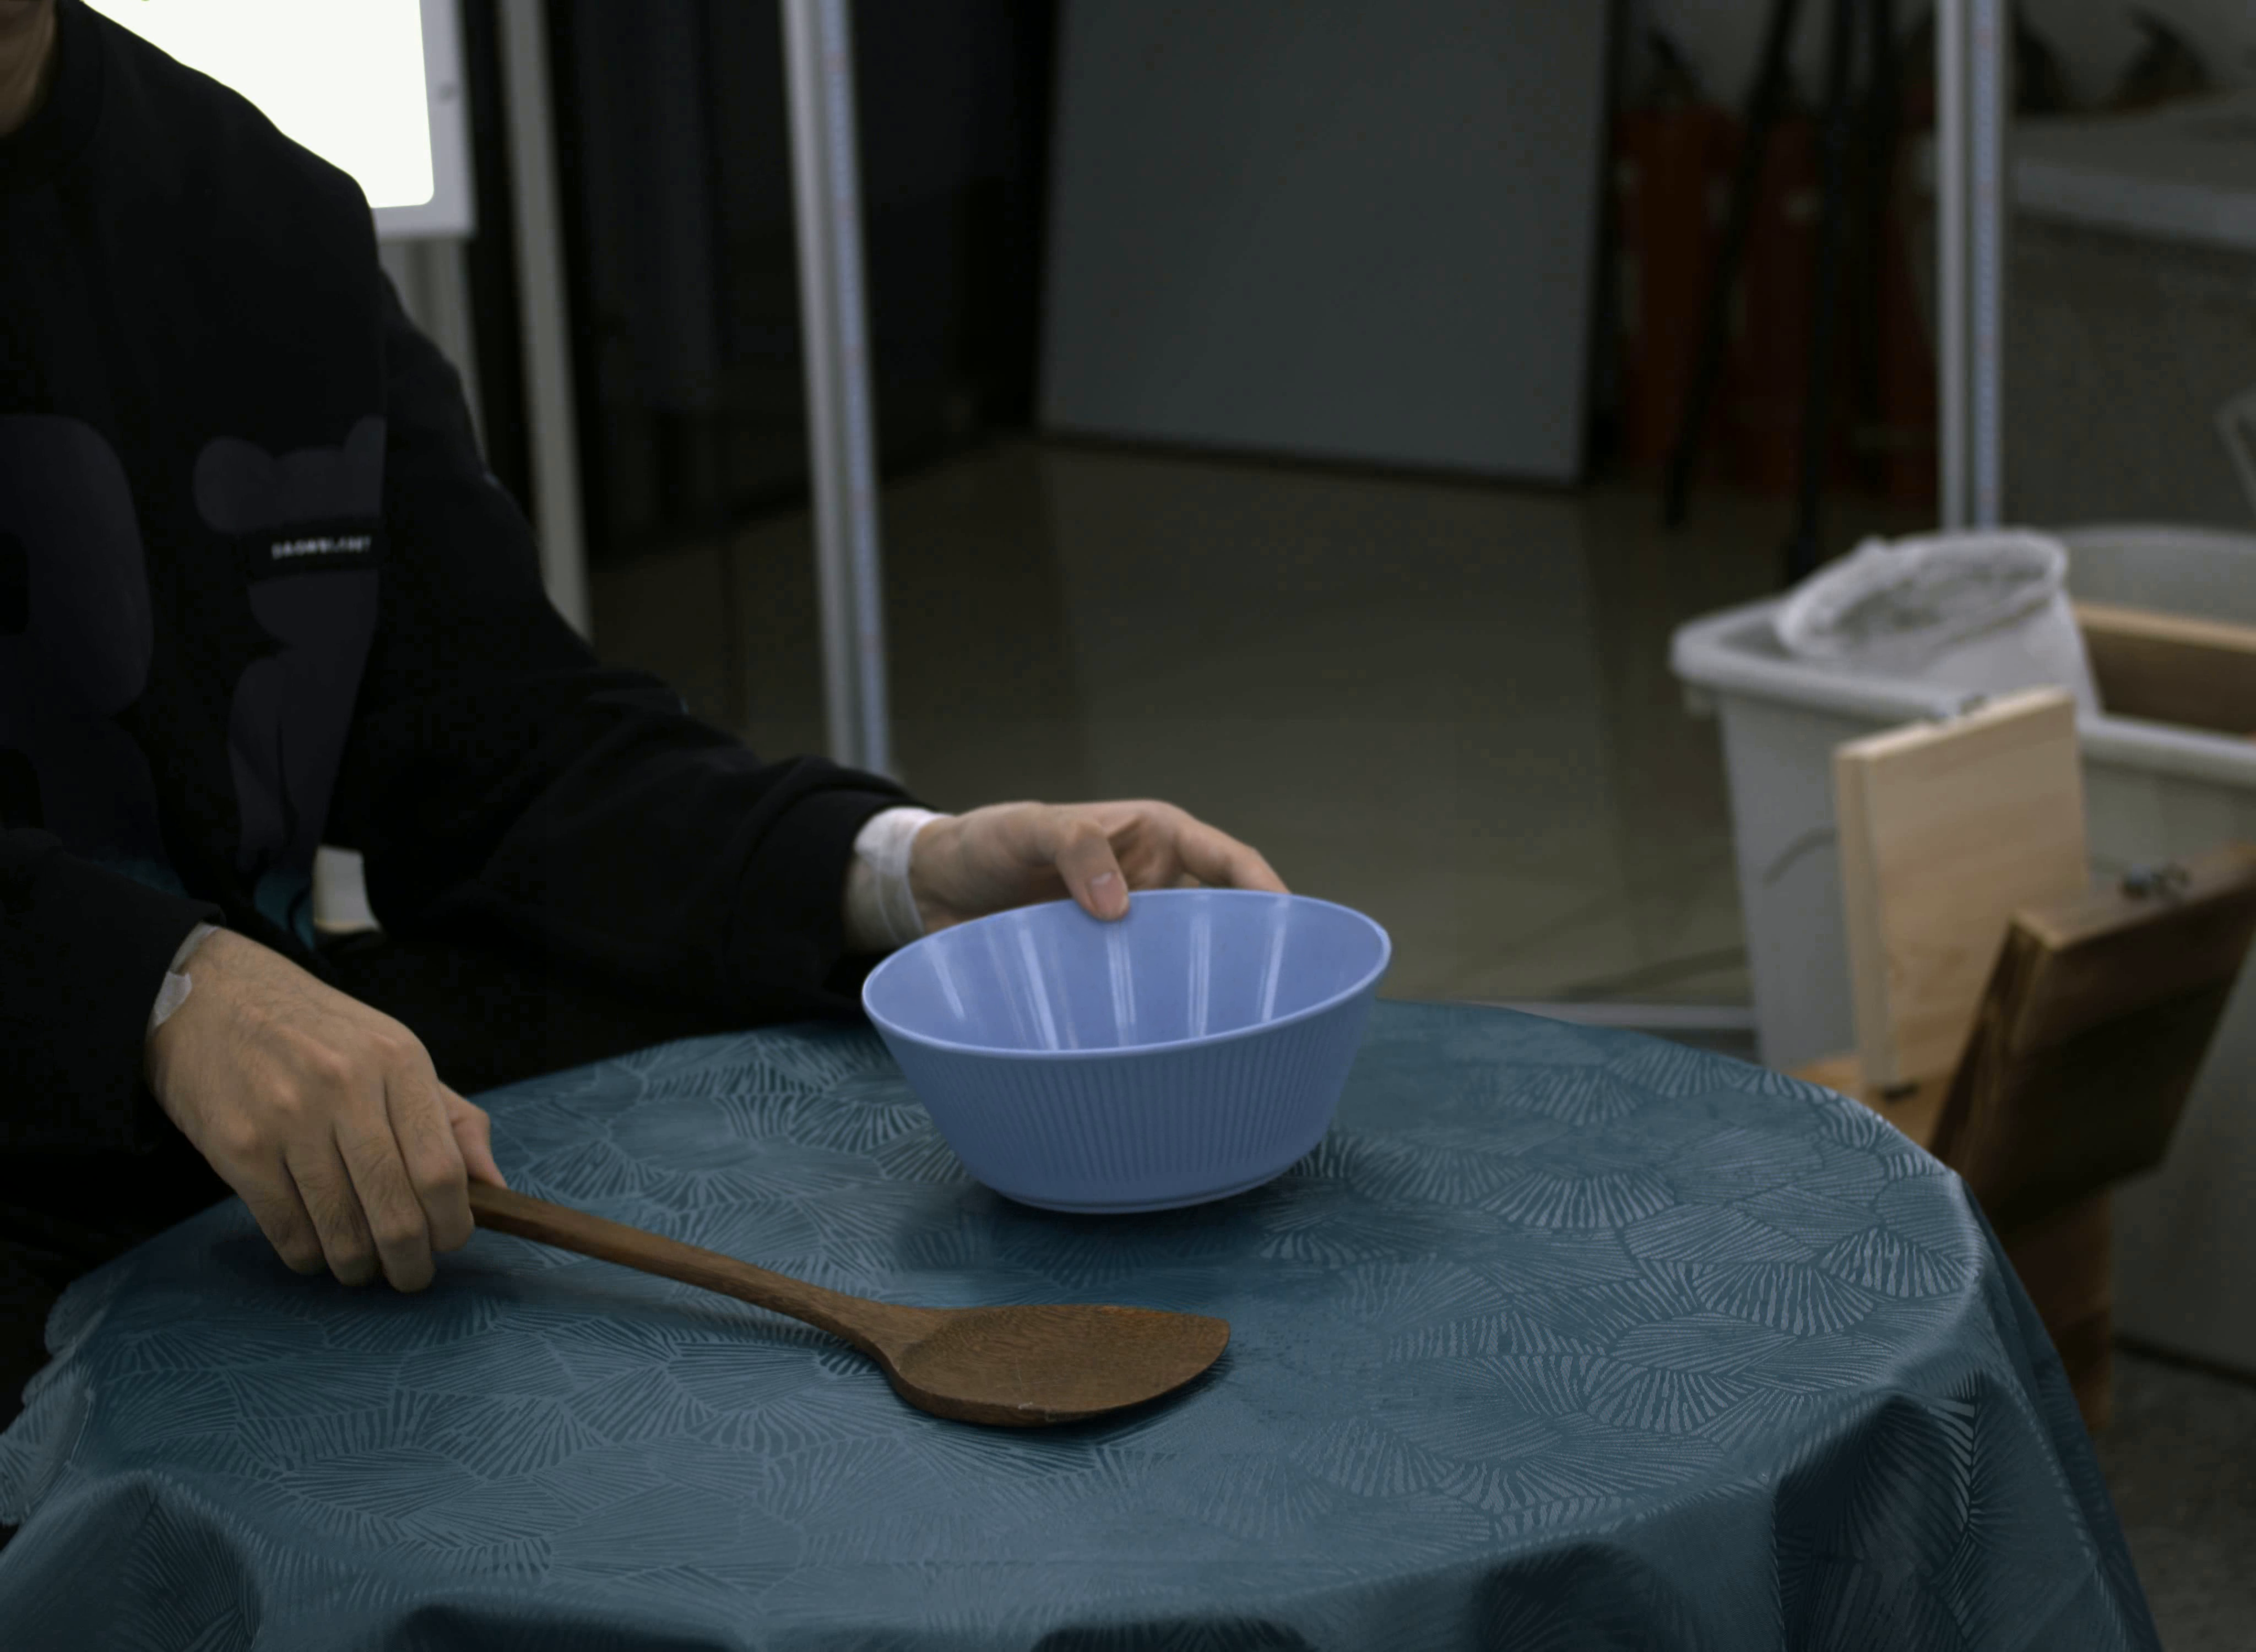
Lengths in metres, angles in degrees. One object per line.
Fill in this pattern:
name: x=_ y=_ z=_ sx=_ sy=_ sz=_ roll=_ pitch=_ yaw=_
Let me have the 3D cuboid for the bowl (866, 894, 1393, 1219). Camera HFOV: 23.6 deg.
bowl: x=0.004 y=0.078 z=1.766 sx=0.174 sy=0.071 sz=0.176 roll=-7 pitch=14 yaw=1

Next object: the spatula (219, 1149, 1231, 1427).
spatula: x=-0.141 y=0.139 z=1.683 sx=0.388 sy=0.016 sz=0.094 roll=10 pitch=19 yaw=35
